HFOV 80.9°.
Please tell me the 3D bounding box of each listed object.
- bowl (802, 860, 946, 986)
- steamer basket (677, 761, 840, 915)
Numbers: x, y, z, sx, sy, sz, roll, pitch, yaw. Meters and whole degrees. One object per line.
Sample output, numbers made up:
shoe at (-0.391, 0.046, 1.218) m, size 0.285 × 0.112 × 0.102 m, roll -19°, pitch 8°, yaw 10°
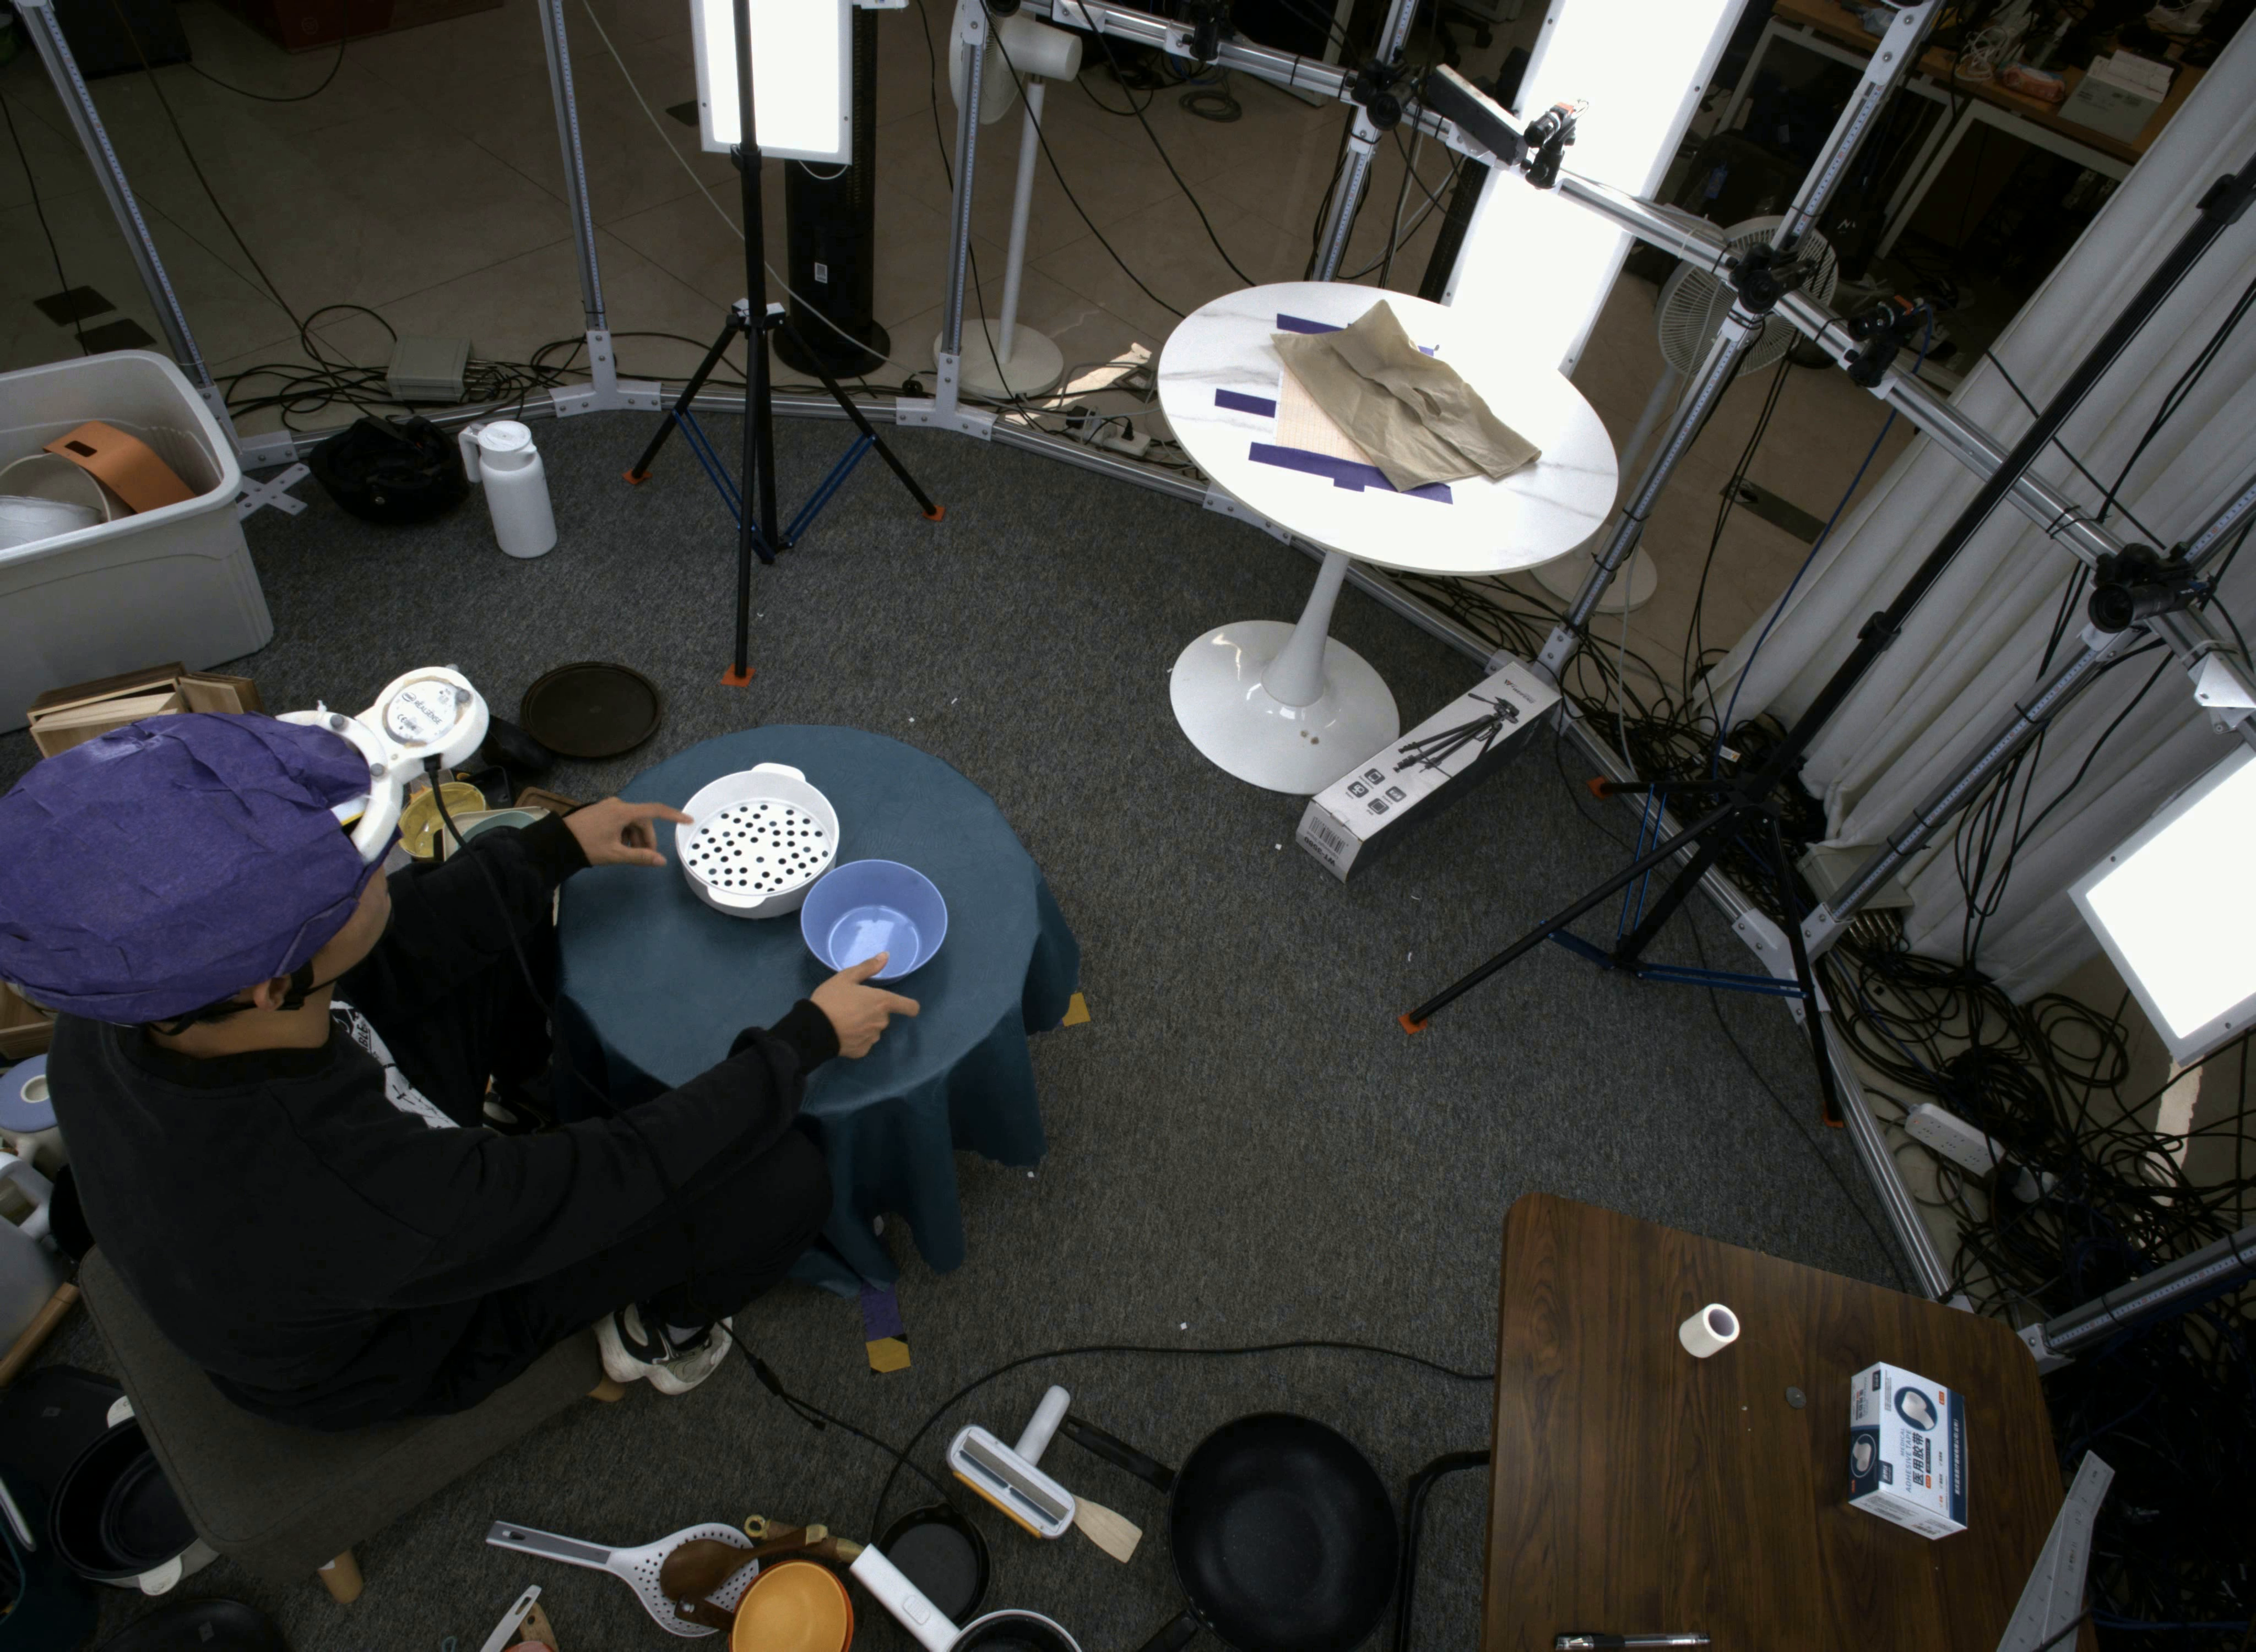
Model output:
bowl at (-0.315, 0.130, 1.614) m, size 0.176 × 0.072 × 0.173 m, roll 8°, pitch 51°, yaw -9°
steamer basket at (-0.472, 0.019, 1.658) m, size 0.201 × 0.071 × 0.226 m, roll 11°, pitch 50°, yaw -6°
